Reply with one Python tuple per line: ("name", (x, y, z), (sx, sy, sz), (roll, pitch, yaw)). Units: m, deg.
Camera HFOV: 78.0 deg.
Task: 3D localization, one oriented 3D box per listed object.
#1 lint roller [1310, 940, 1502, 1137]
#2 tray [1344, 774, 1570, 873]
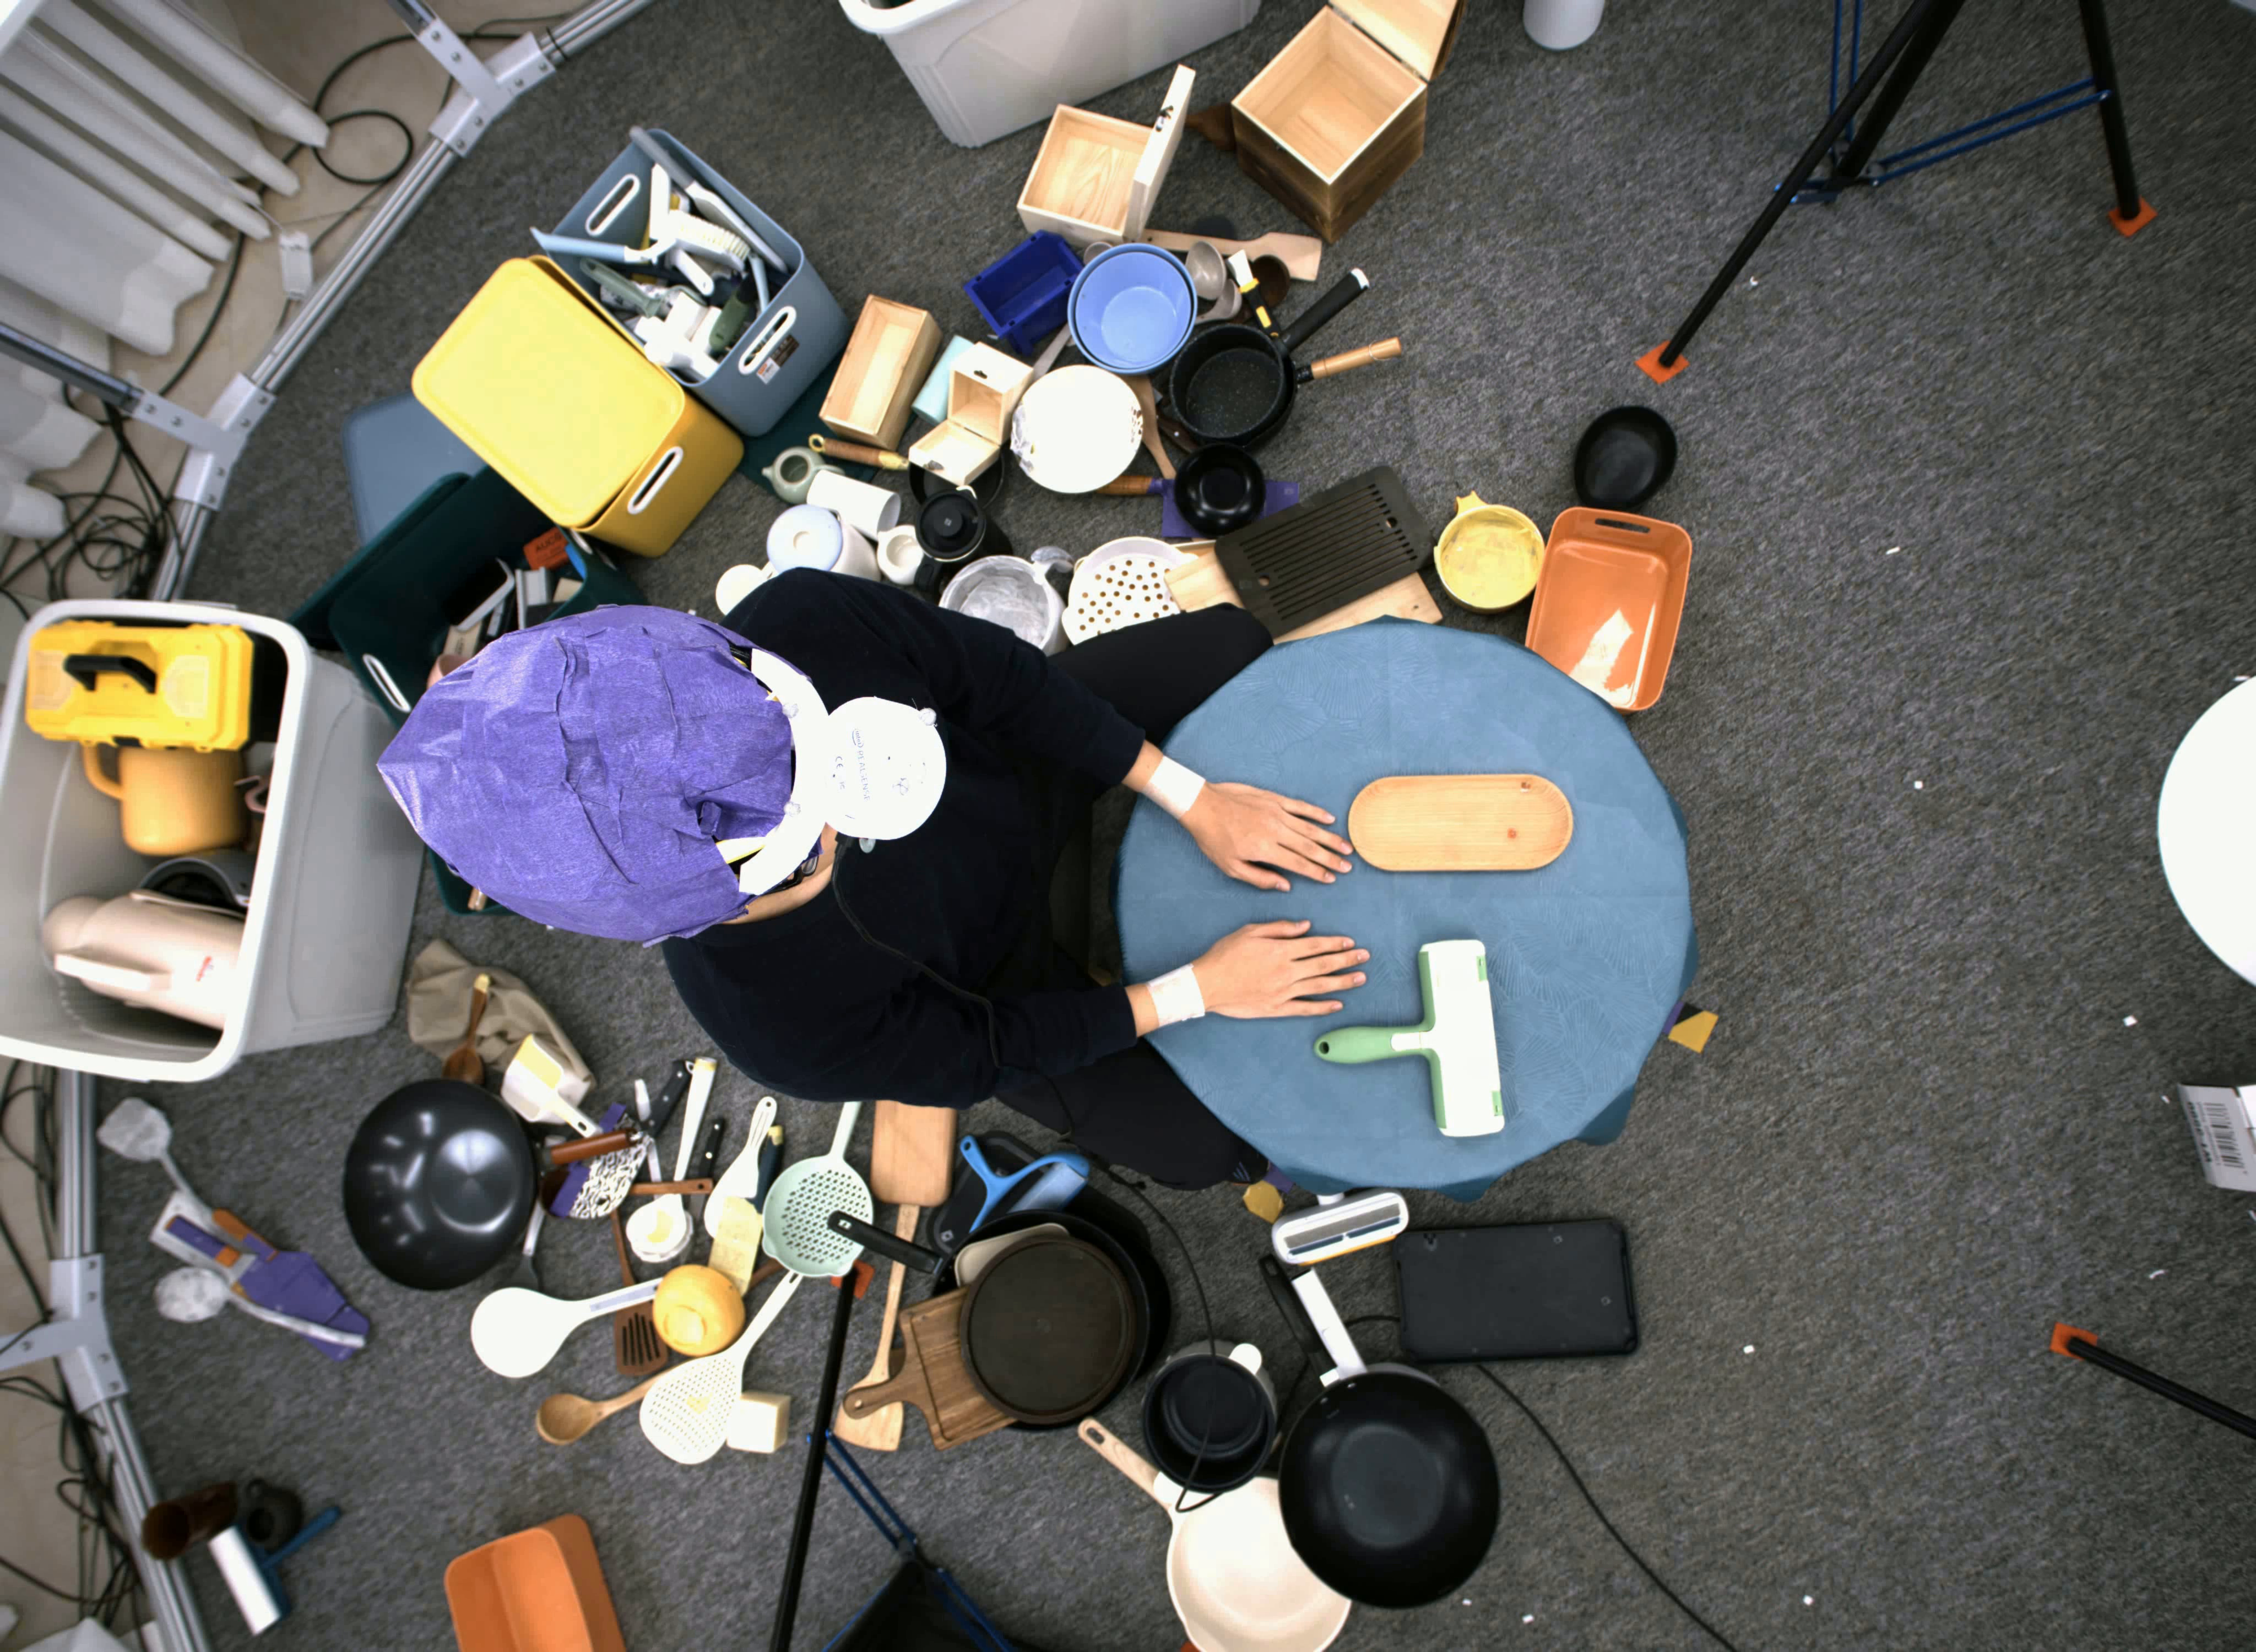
("lint roller", (0.278, 0.219, 1.406), (0.184, 0.082, 0.197), (-6, 85, 4))
("tray", (0.343, -0.004, 1.442), (0.232, 0.020, 0.101), (-2, 86, 12))
